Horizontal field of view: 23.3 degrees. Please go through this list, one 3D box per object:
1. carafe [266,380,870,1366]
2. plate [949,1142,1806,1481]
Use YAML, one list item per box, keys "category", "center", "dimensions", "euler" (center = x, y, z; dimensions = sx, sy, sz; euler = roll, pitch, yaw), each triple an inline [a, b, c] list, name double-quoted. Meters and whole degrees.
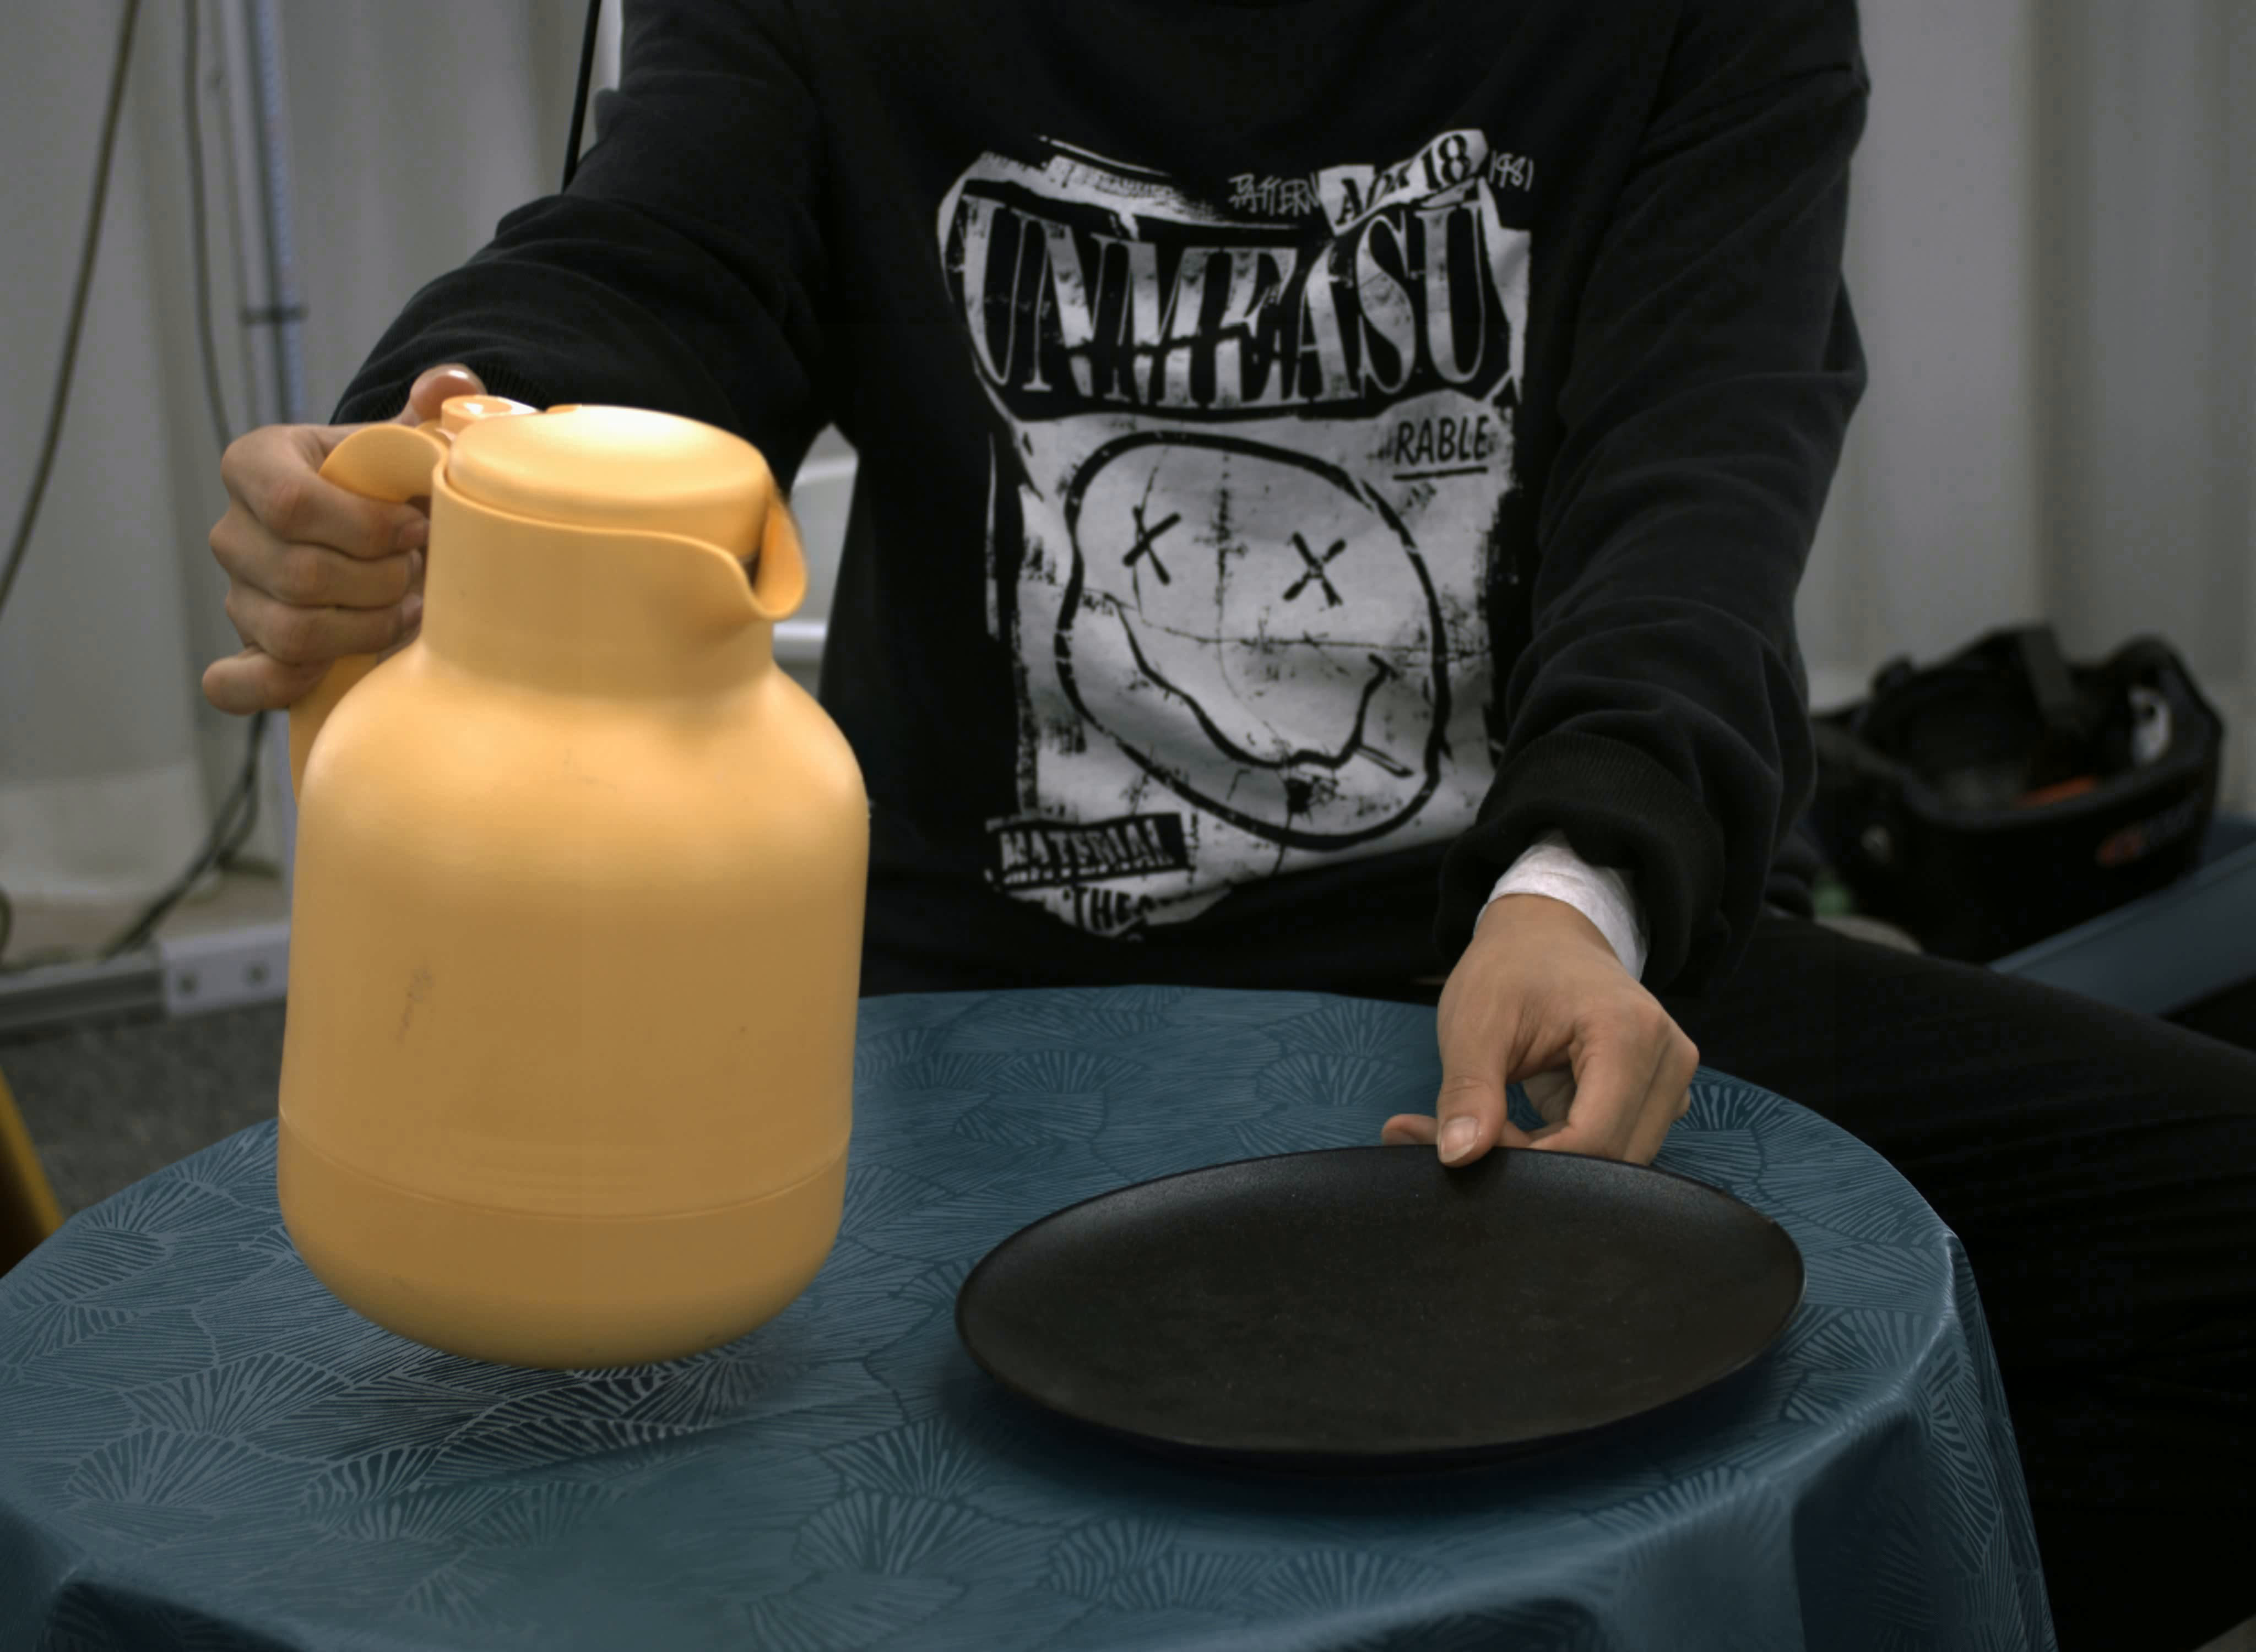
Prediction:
- category: "carafe"
  center: [-0.166, 0.004, 1.555]
  dimensions: [0.163, 0.259, 0.204]
  euler: [-9, 24, -43]
- category: "plate"
  center: [0.071, 0.141, 1.552]
  dimensions: [0.243, 0.023, 0.246]
  euler: [-3, 16, 1]
